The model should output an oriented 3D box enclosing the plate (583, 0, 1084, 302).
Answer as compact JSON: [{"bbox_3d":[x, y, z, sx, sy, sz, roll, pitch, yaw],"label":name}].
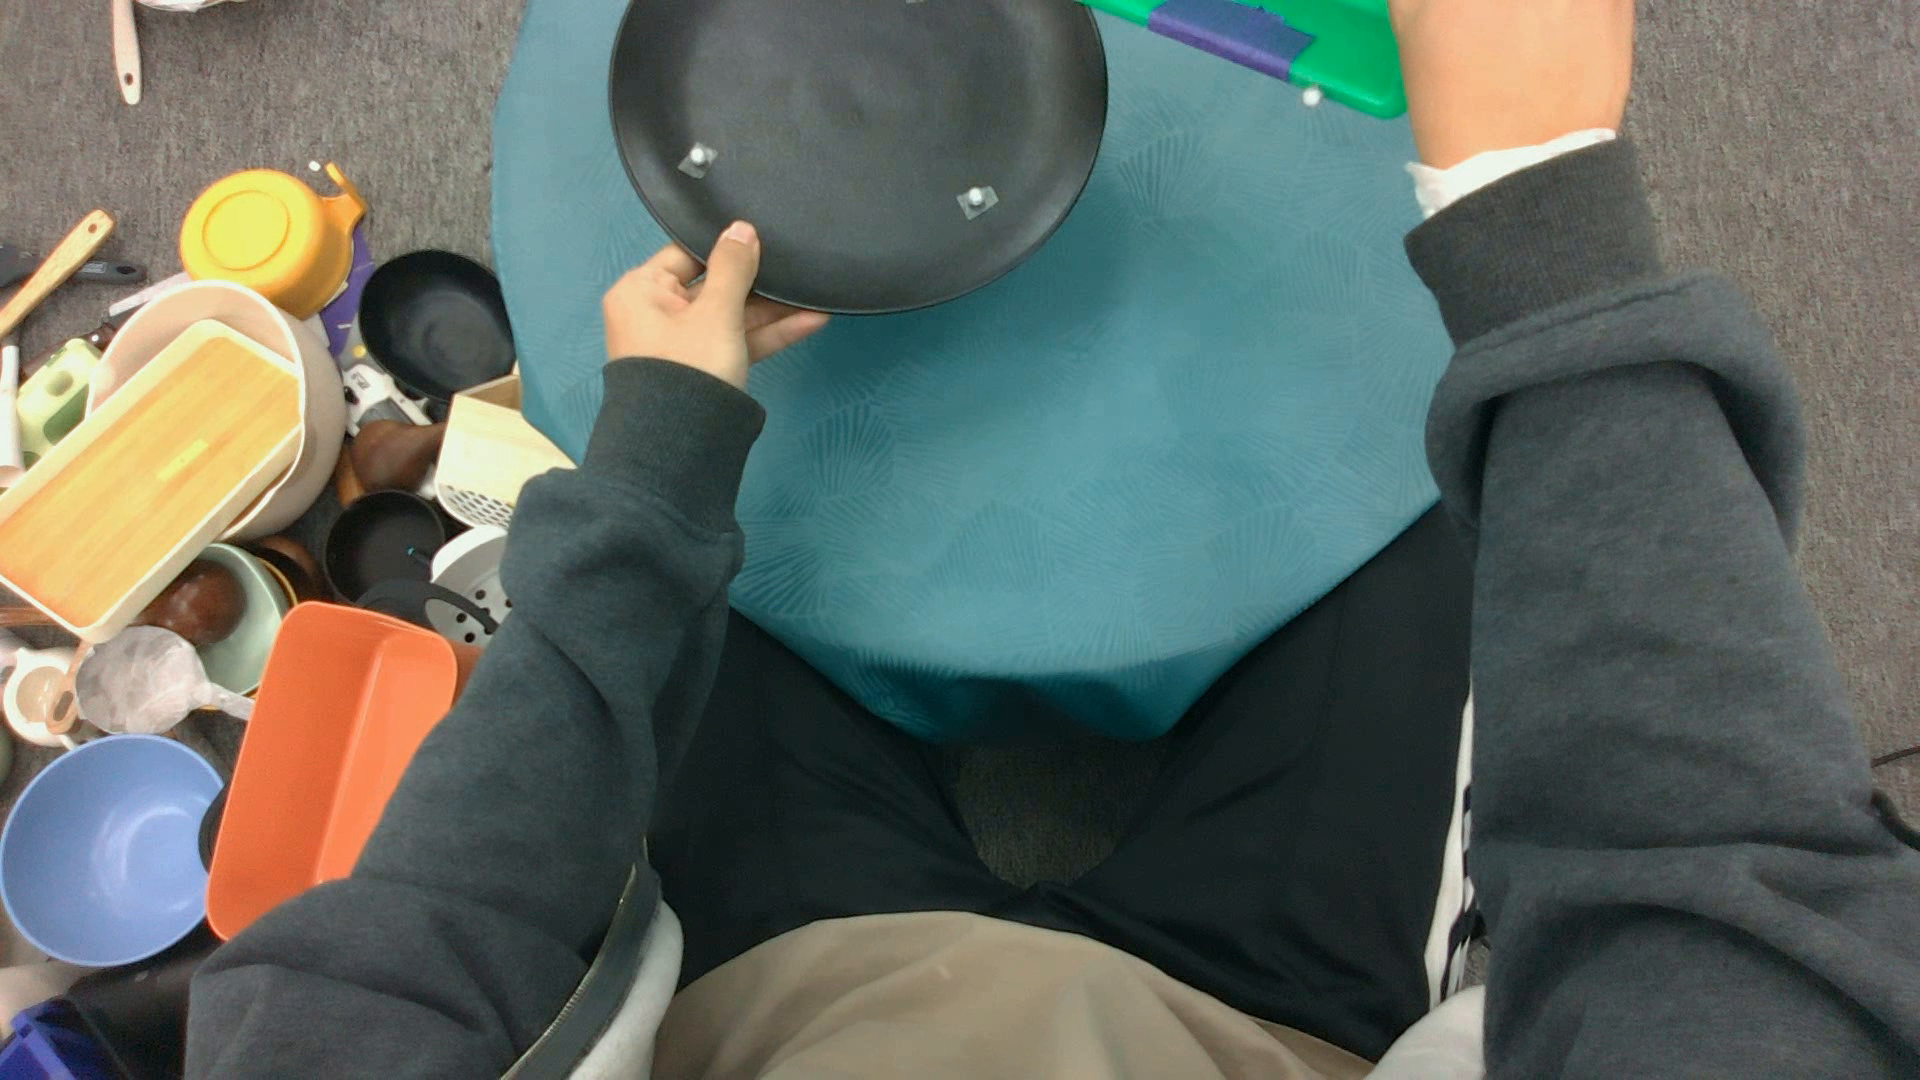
[{"bbox_3d":[-0.061,-0.226,0.682,0.244,0.023,0.245,1,75,-3],"label":"plate"}]

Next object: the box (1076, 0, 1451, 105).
[{"bbox_3d":[0.112,-0.277,0.555,0.210,0.138,0.065,30,57,27],"label":"box"}]
